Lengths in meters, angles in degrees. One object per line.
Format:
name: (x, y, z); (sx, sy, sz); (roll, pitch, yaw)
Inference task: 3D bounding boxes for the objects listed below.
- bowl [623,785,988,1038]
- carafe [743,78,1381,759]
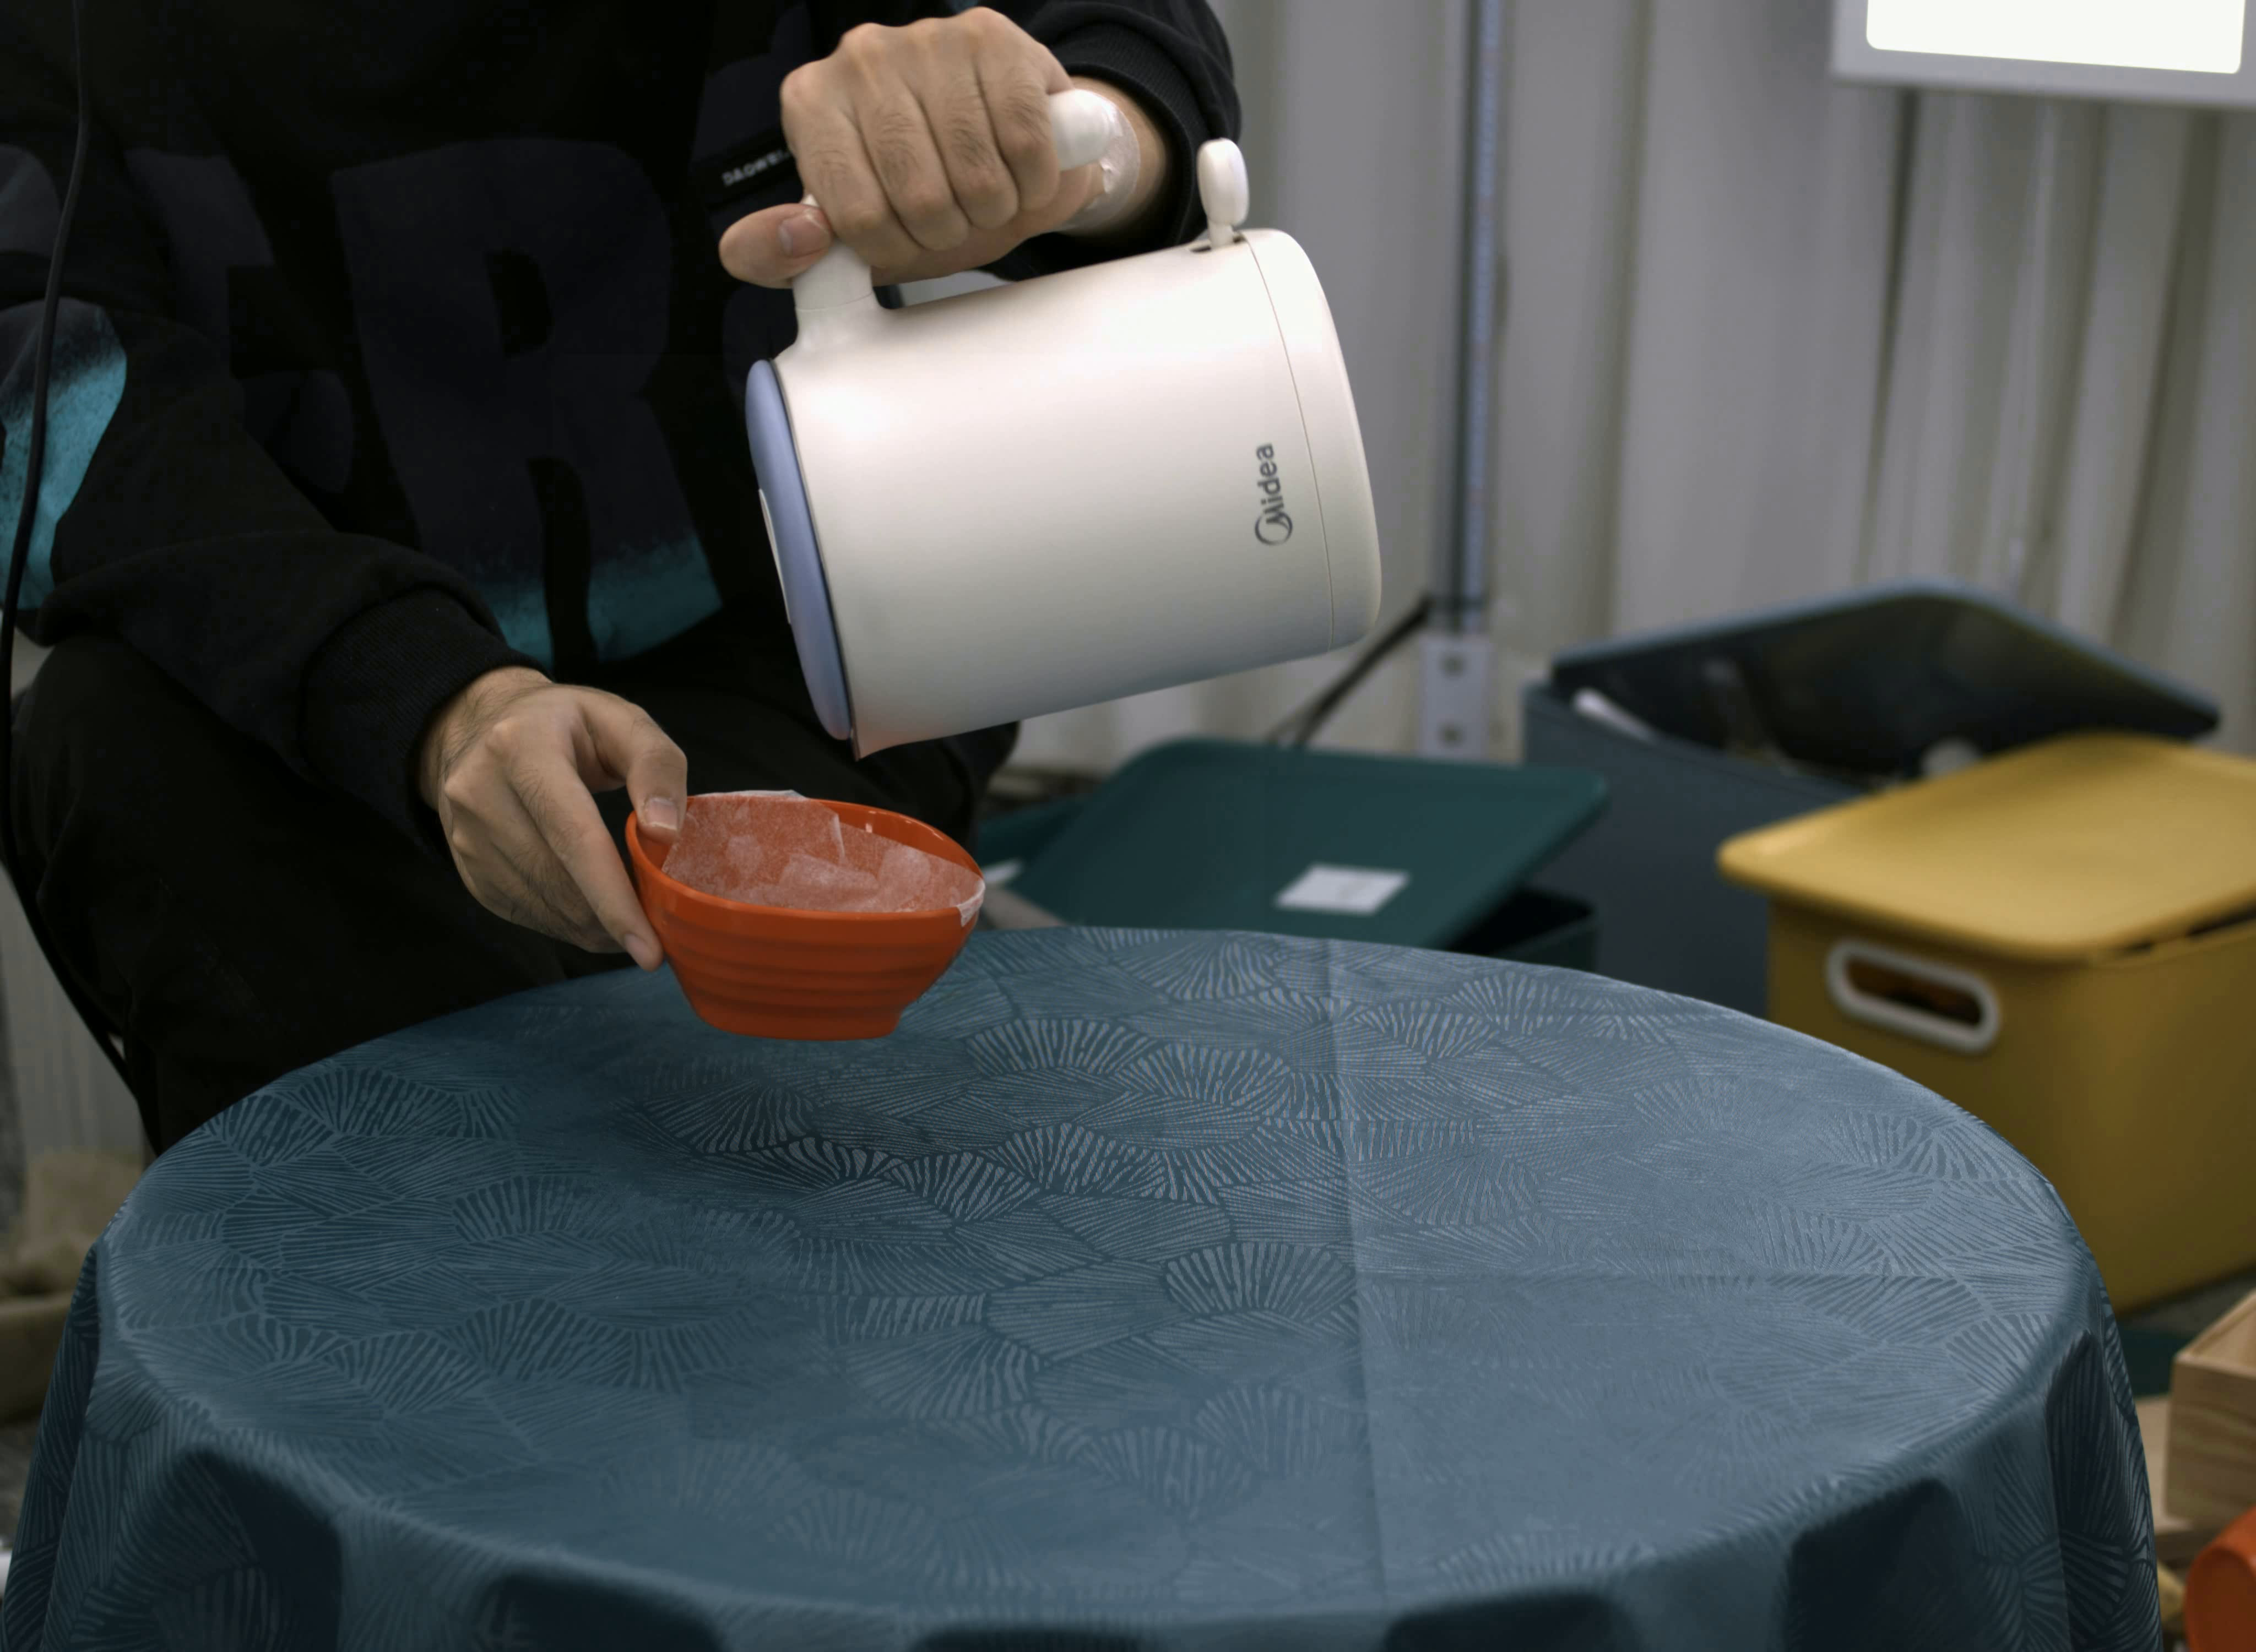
bowl: (-0.103, 0.029, 1.629); (0.118, 0.052, 0.118); (7, 20, -2)
carafe: (-0.024, -0.127, 1.591); (0.182, 0.193, 0.131); (-11, 15, -7)
